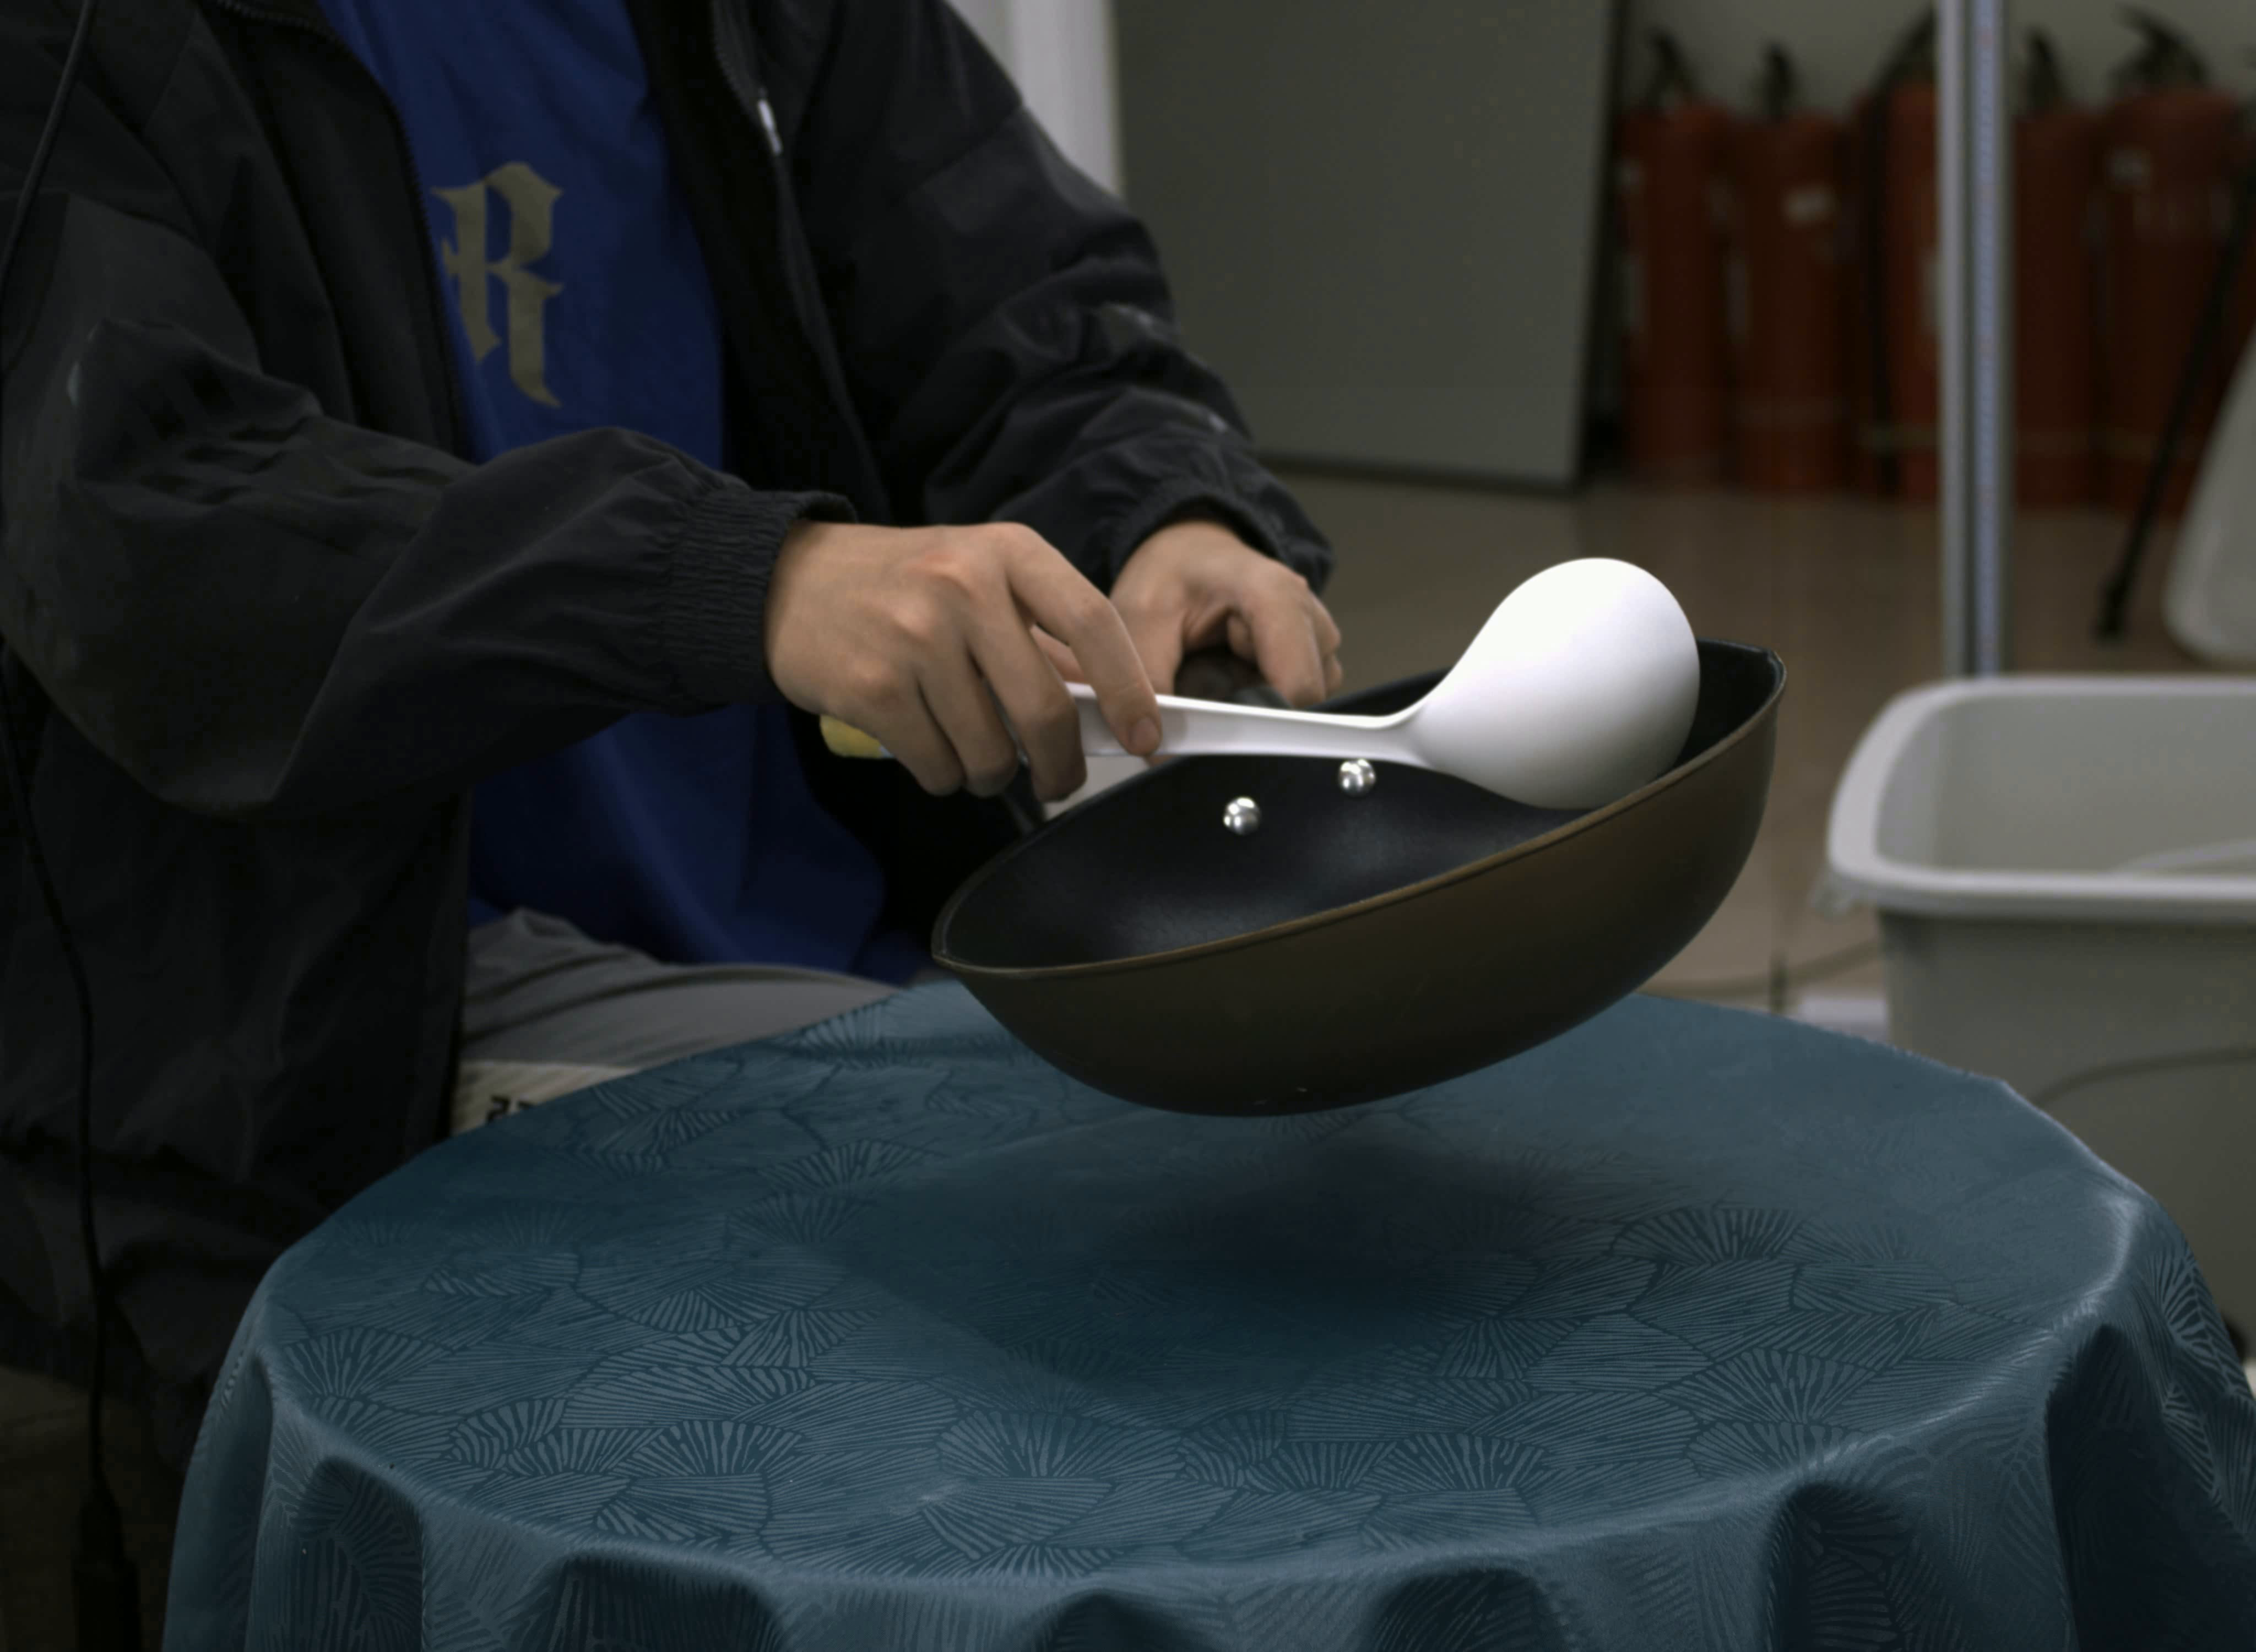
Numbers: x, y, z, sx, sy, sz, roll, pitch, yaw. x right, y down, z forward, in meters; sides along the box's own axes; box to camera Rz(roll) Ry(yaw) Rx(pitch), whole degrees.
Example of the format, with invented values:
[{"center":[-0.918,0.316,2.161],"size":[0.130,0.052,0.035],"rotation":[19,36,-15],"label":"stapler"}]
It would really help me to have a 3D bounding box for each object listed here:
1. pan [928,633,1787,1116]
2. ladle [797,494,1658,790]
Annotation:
[{"center":[0.068,0.009,1.790],"size":[0.284,0.087,0.465],"rotation":[-20,11,-5],"label":"pan"},{"center":[0.028,-0.050,1.754],"size":[0.294,0.090,0.070],"rotation":[-5,38,30],"label":"ladle"}]
